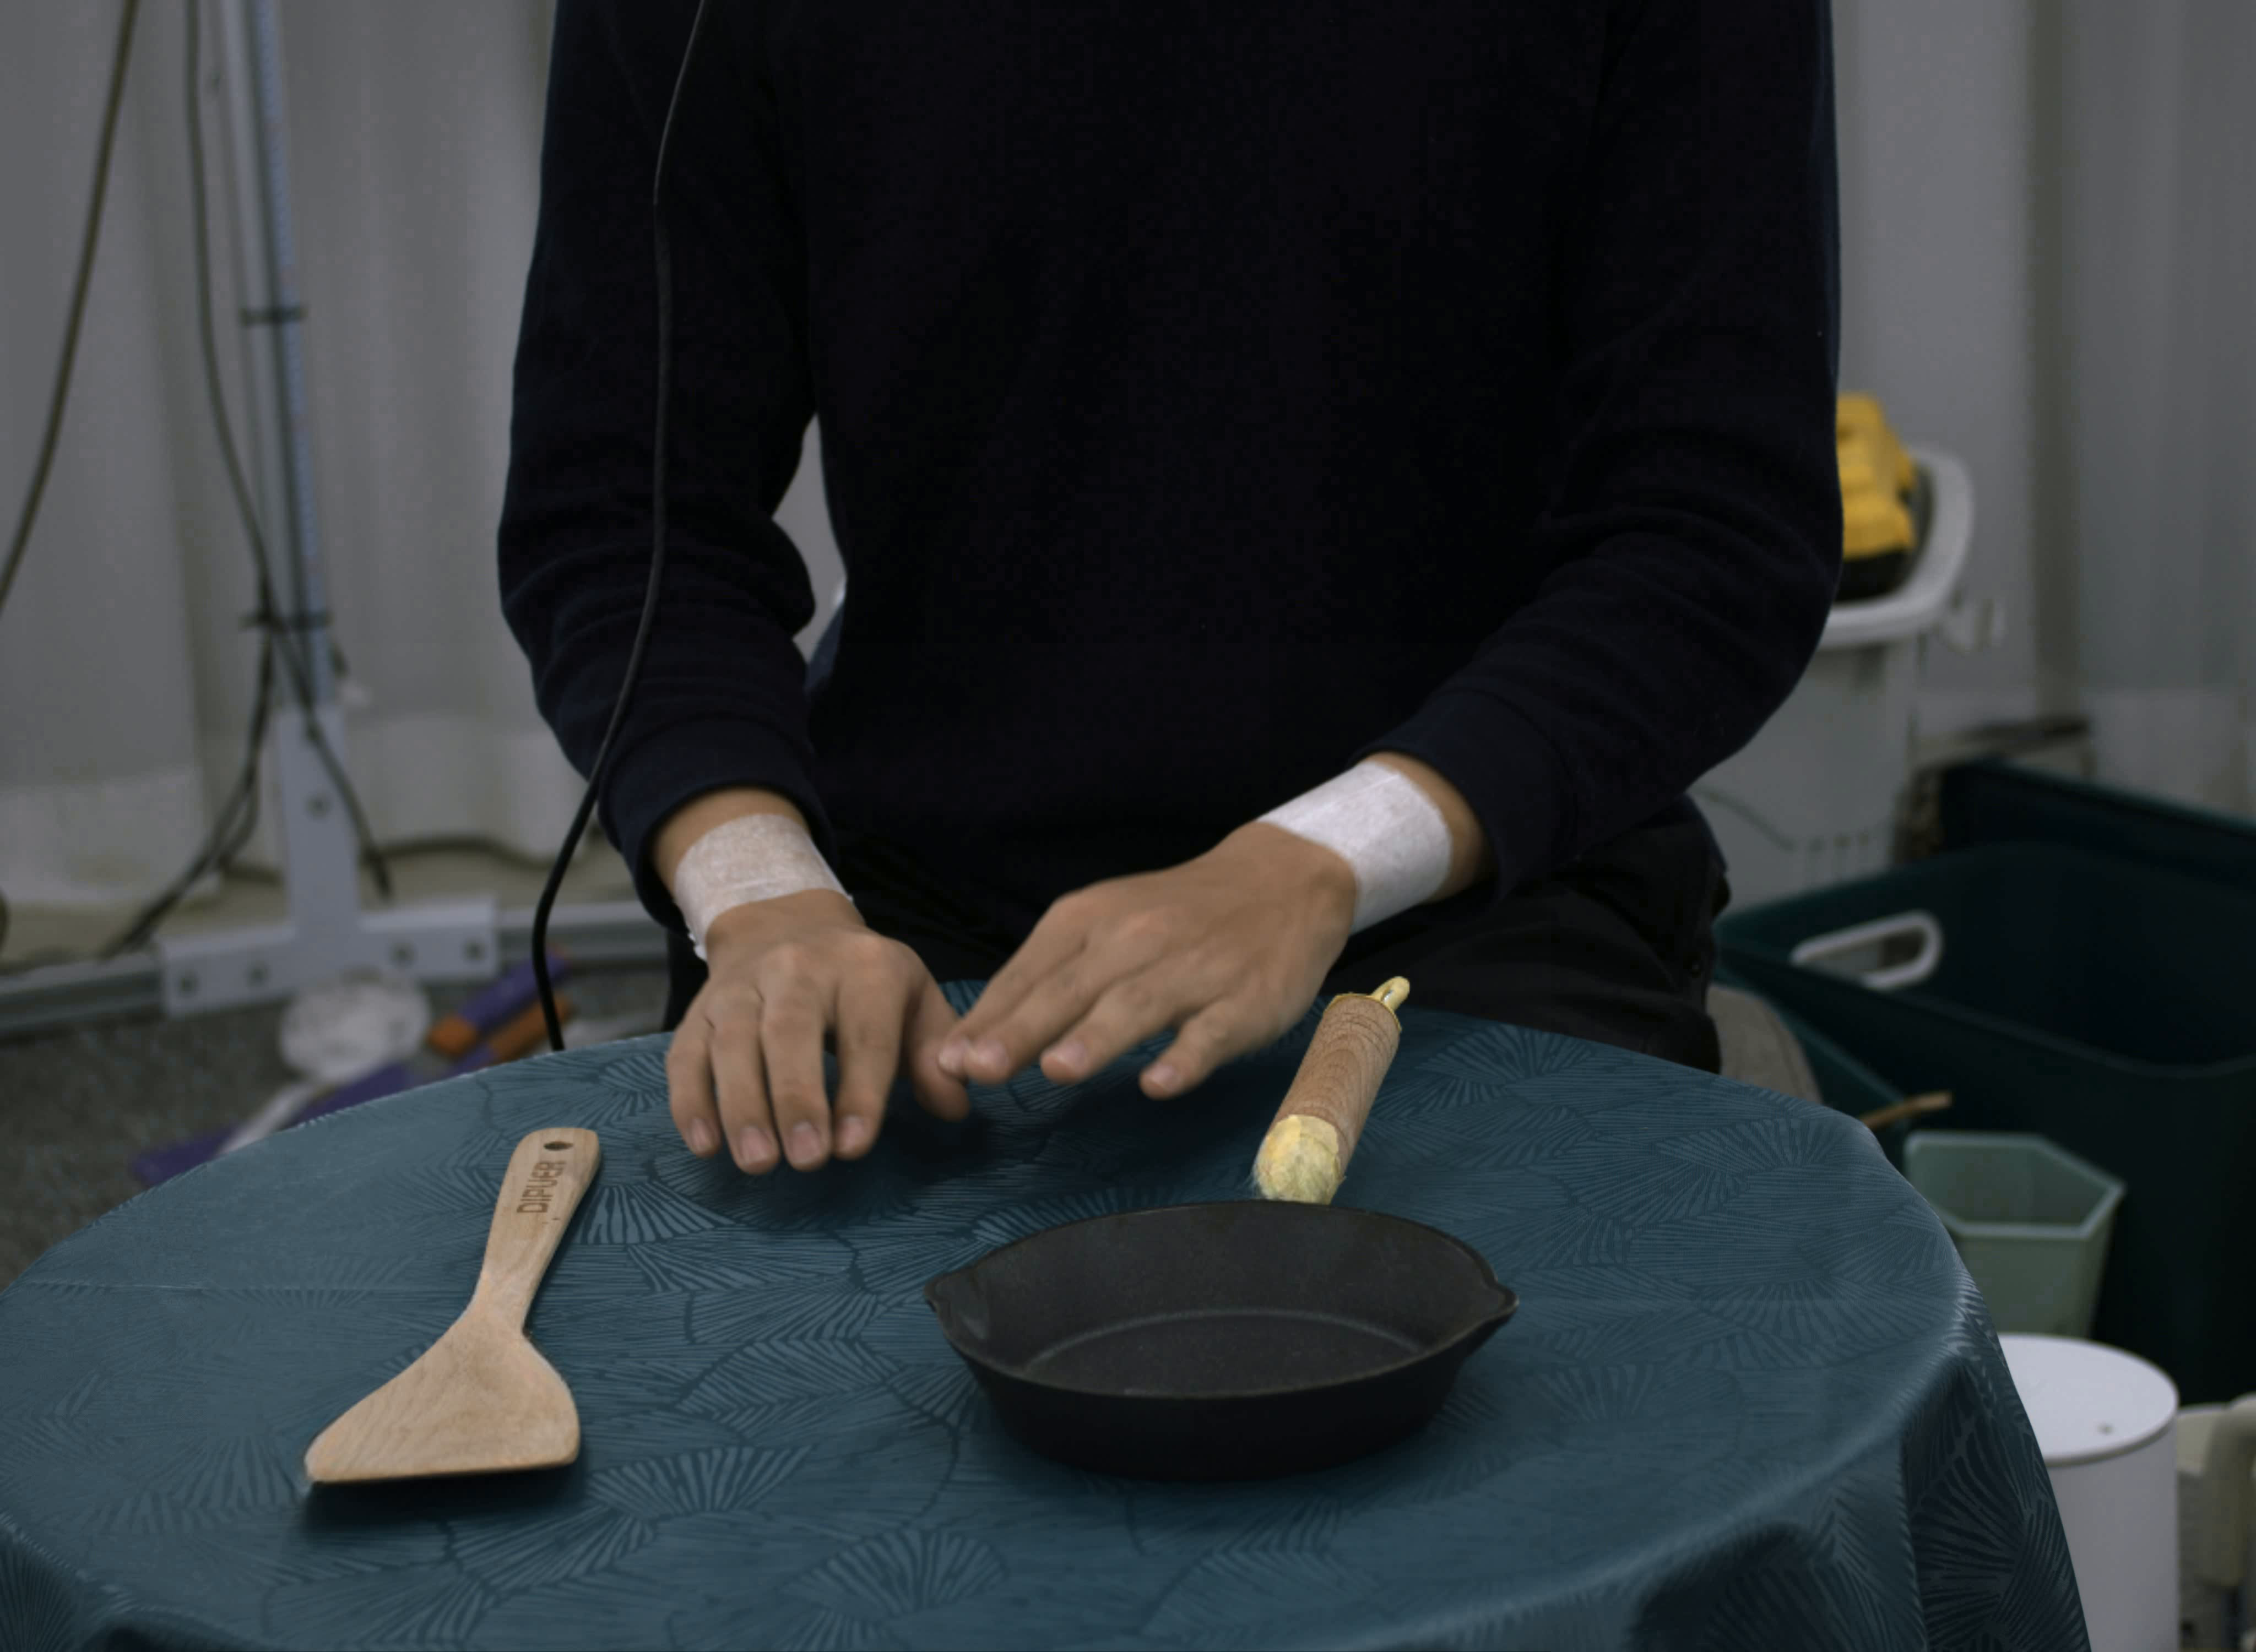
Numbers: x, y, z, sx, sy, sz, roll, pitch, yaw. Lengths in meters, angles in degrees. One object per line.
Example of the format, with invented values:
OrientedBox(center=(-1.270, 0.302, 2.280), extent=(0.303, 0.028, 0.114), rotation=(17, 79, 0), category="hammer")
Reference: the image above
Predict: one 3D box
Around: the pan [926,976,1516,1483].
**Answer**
OrientedBox(center=(0.046, 0.115, 1.608), extent=(0.169, 0.049, 0.326), rotation=(1, 17, 15), category="pan")

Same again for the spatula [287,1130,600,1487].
OrientedBox(center=(-0.186, 0.140, 1.627), extent=(0.080, 0.016, 0.330), rotation=(-2, 15, 1), category="spatula")
